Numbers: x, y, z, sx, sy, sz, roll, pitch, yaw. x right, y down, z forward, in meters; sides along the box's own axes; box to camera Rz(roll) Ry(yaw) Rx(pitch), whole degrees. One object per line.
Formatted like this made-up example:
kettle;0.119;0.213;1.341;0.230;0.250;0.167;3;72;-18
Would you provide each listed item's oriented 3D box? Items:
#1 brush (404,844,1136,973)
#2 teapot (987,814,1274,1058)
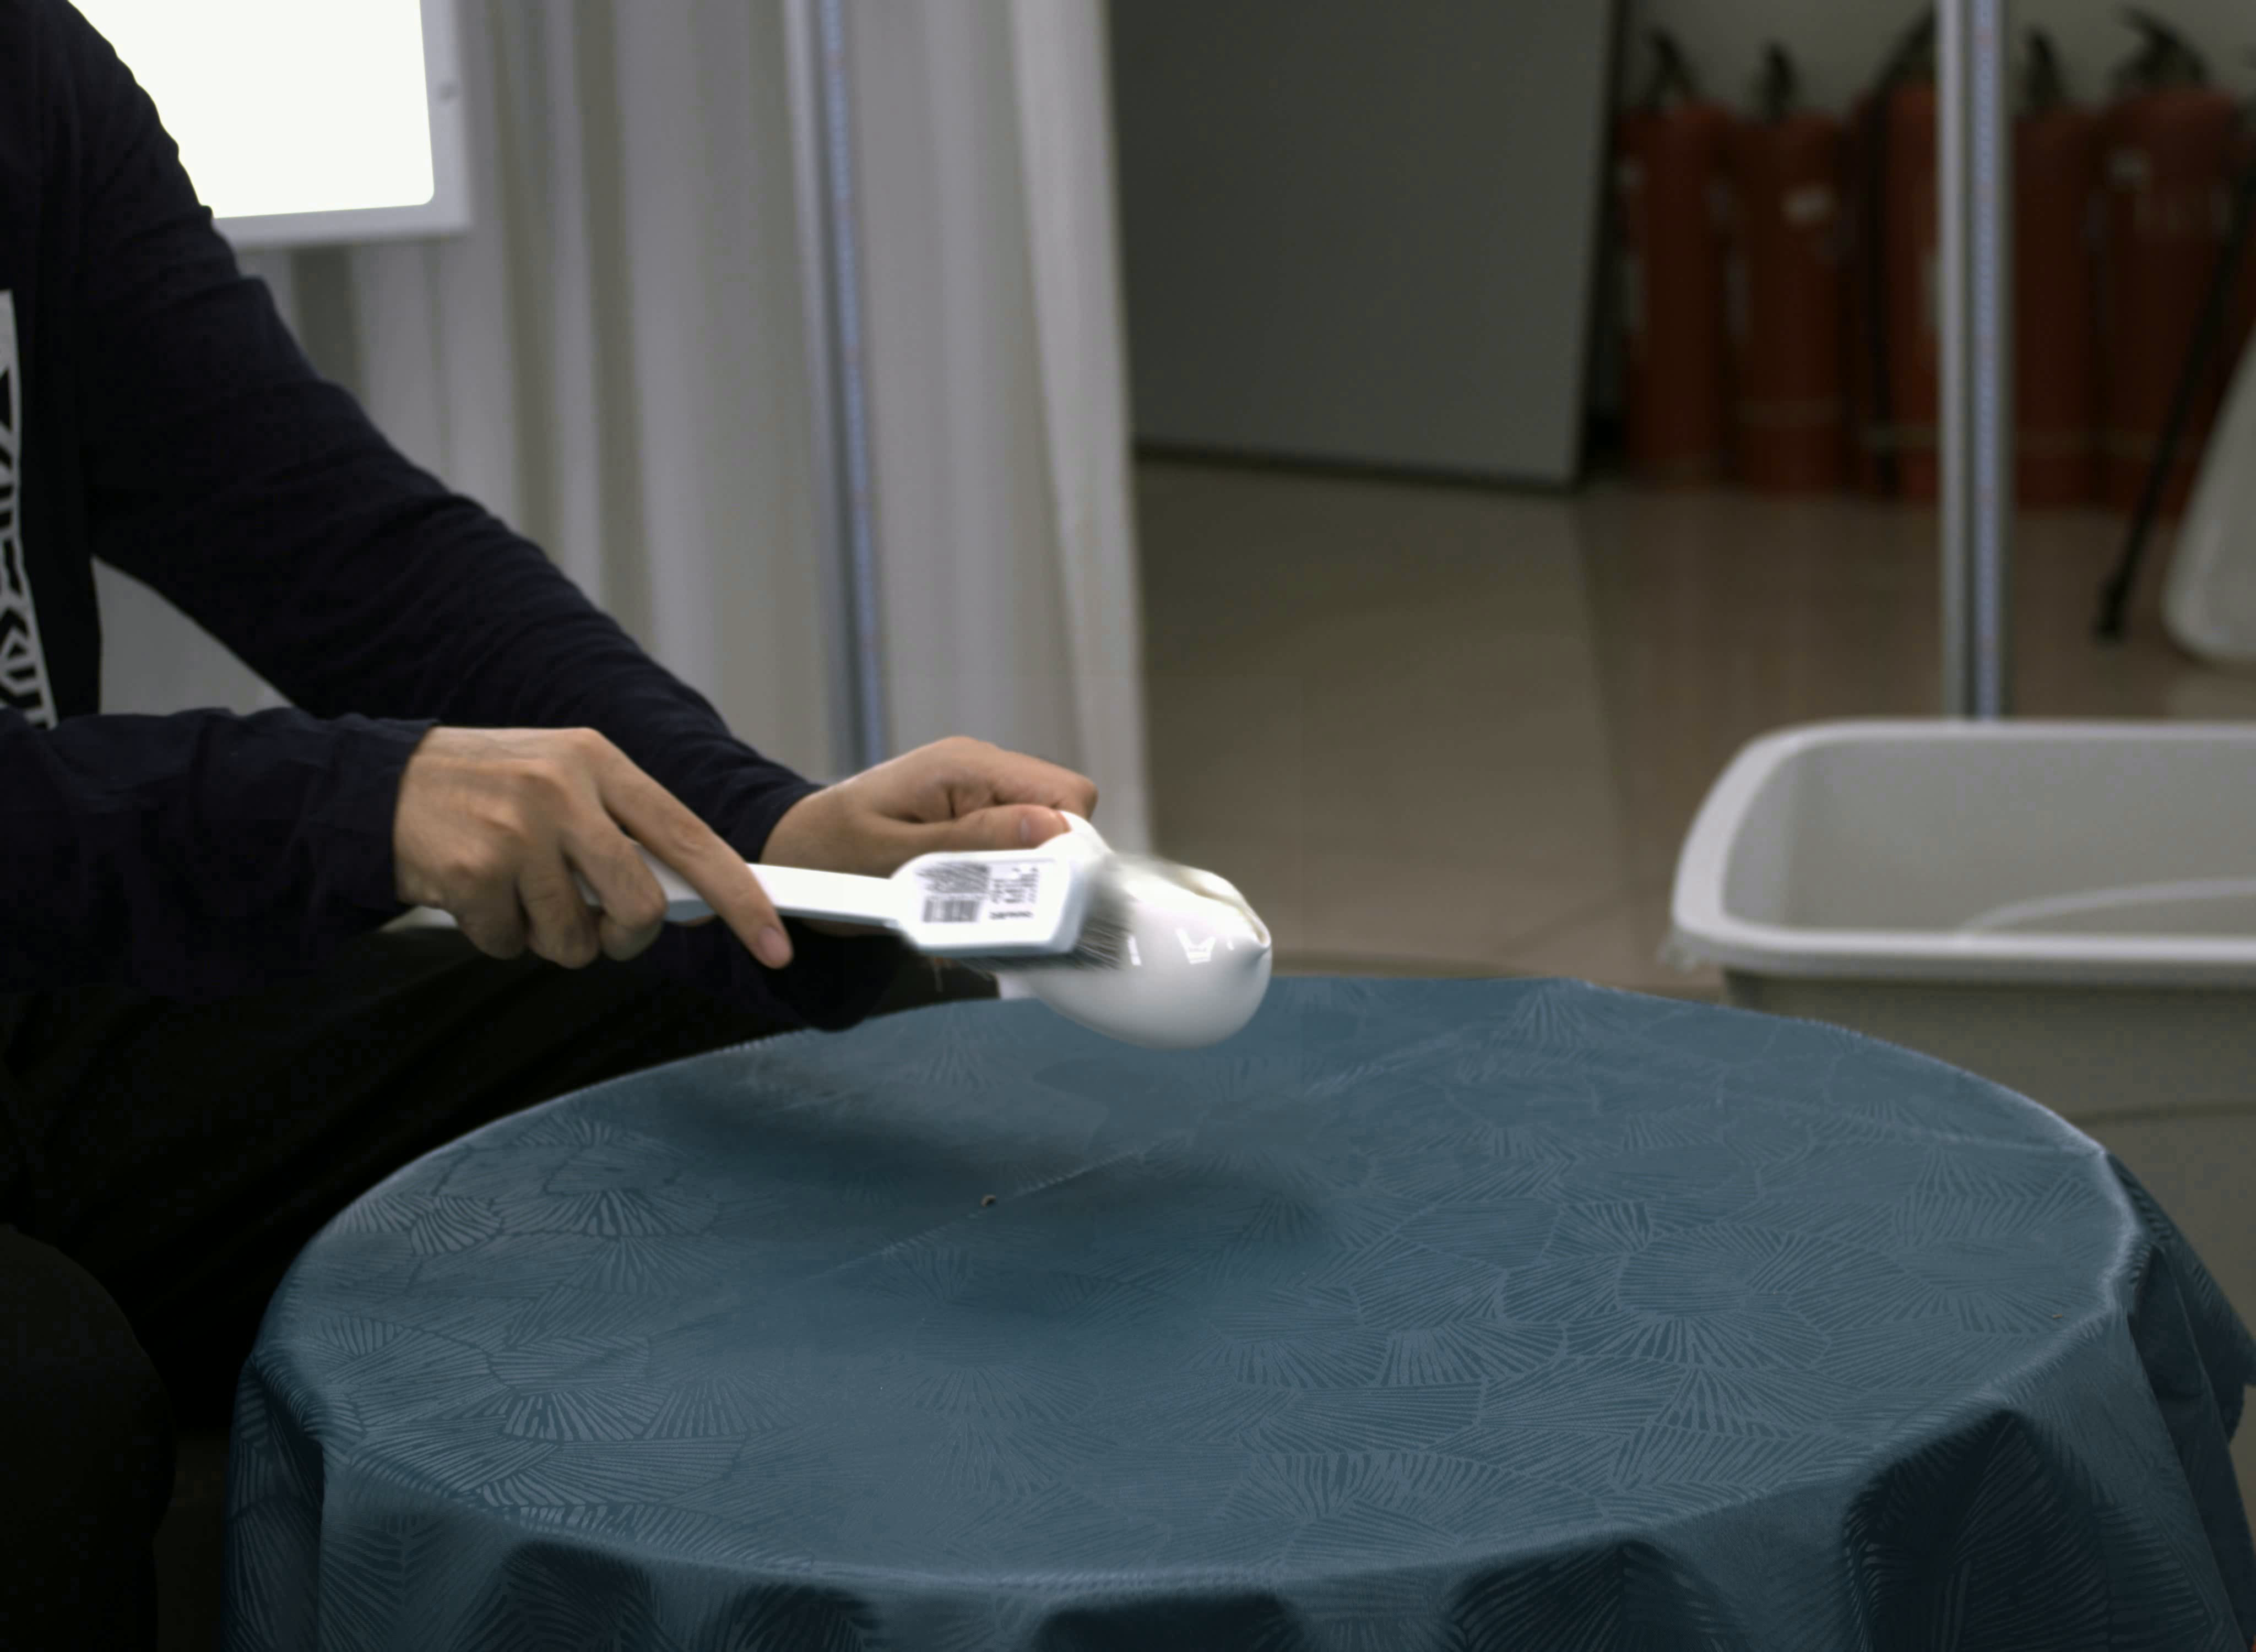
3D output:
brush;-0.115;0.027;1.748;0.243;0.035;0.050;0;-15;17
teapot;-0.005;0.036;1.783;0.128;0.057;0.091;28;14;38
